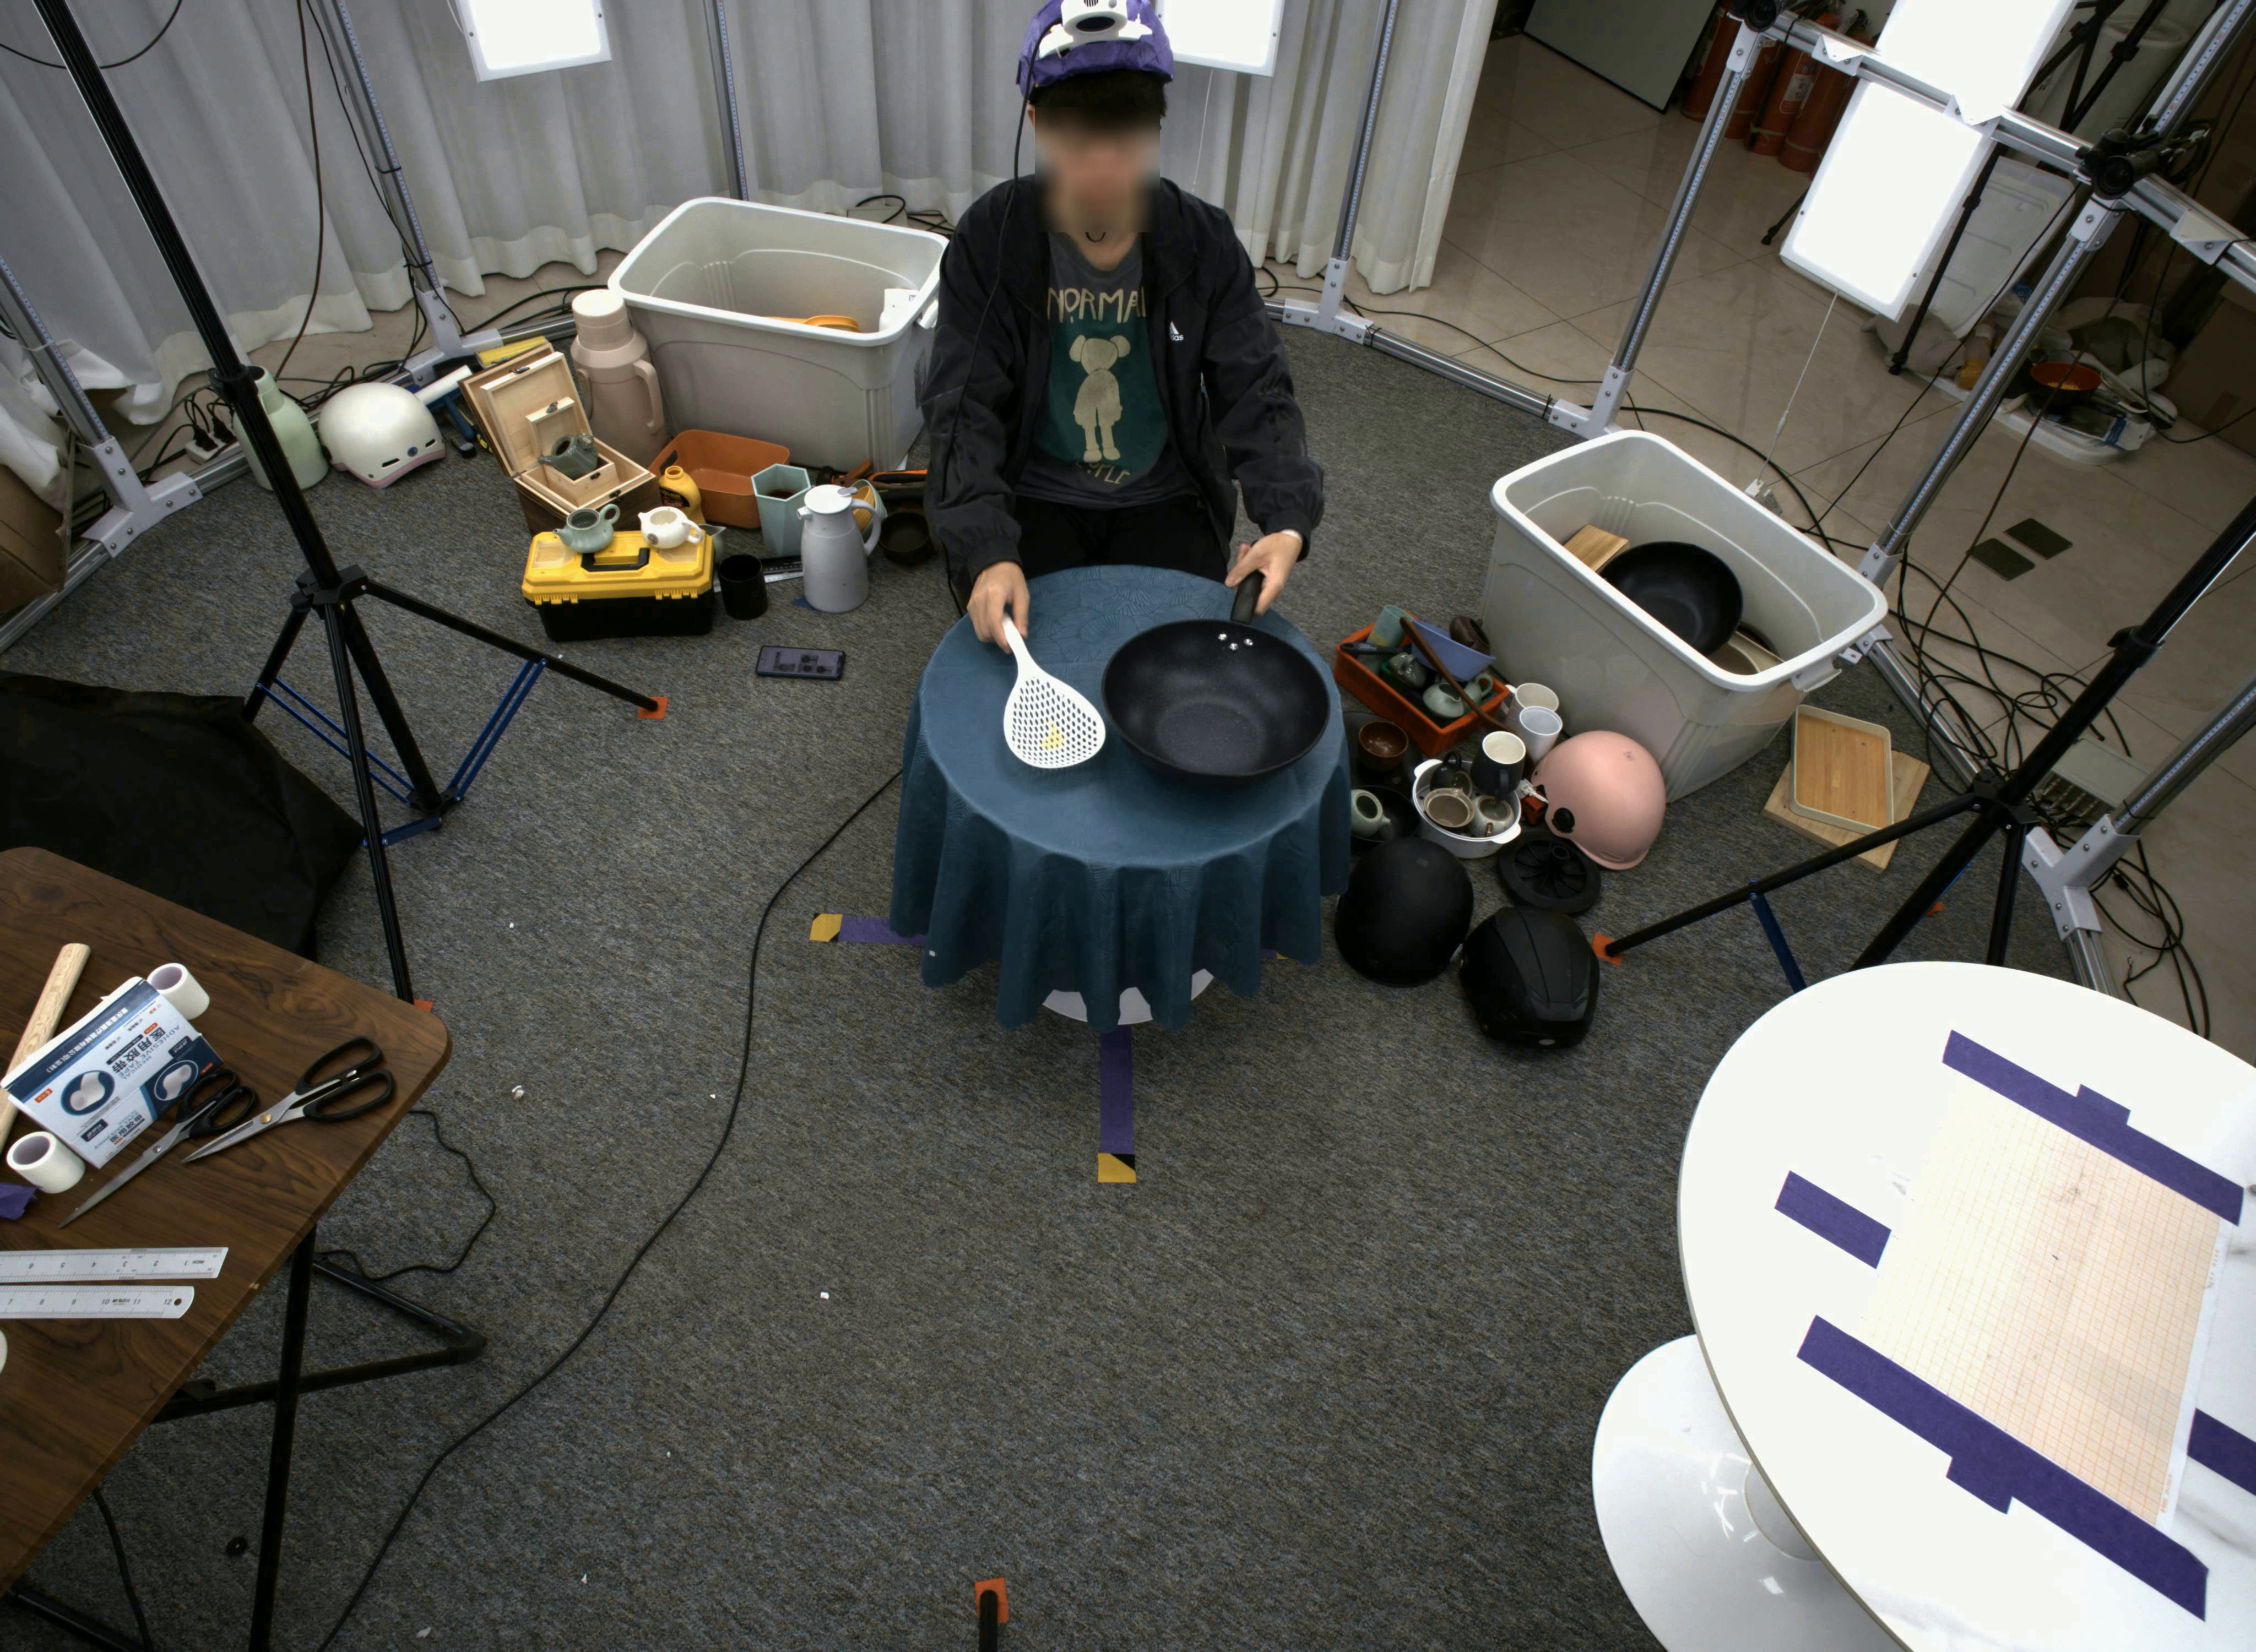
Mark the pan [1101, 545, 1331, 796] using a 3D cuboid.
[{"bbox_3d":[0.137,-0.213,1.793,0.311,0.109,0.487,13,48,7],"label":"pan"}]

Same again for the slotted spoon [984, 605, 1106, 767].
[{"bbox_3d":[-0.138,-0.207,1.799,0.137,0.049,0.356,-16,56,-12],"label":"slotted spoon"}]
